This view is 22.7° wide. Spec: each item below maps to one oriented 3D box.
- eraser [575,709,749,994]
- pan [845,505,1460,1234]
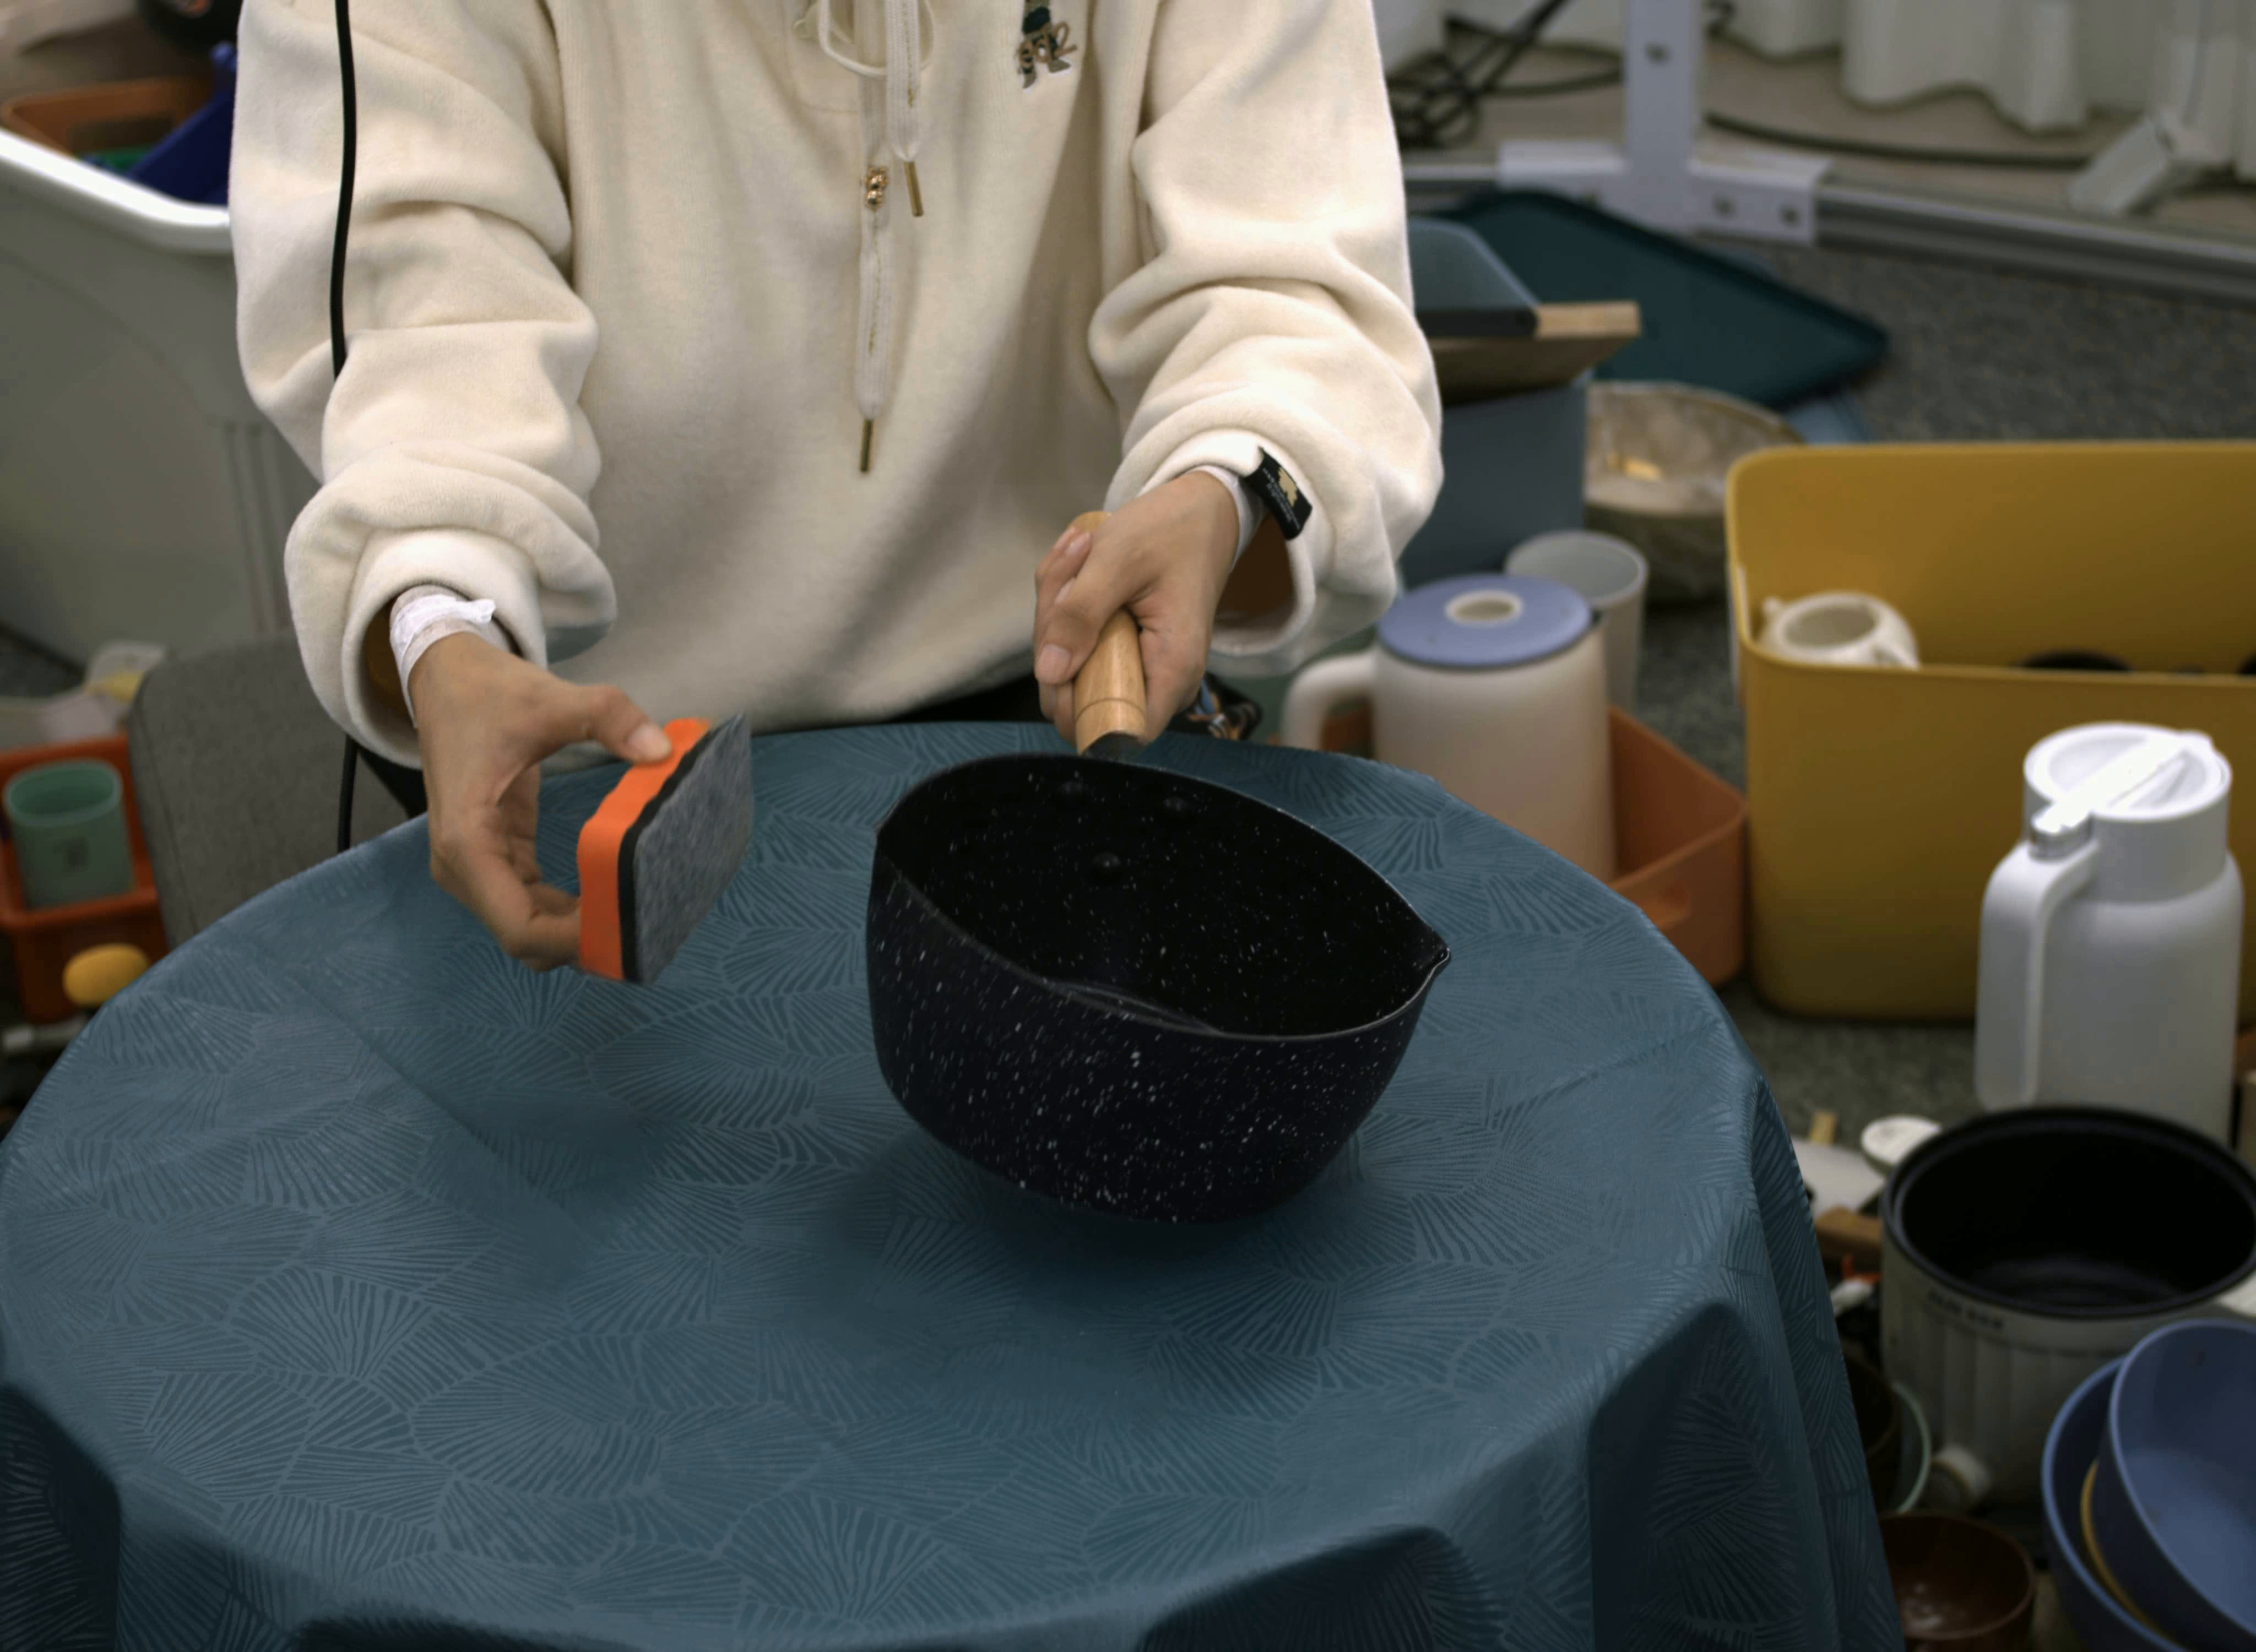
[{"bbox_3d":[-0.154,0.008,1.870,0.023,0.058,0.110,8,28,14],"label":"eraser"},{"bbox_3d":[-0.007,0.010,1.916,0.207,0.107,0.348,9,27,-13],"label":"pan"}]
